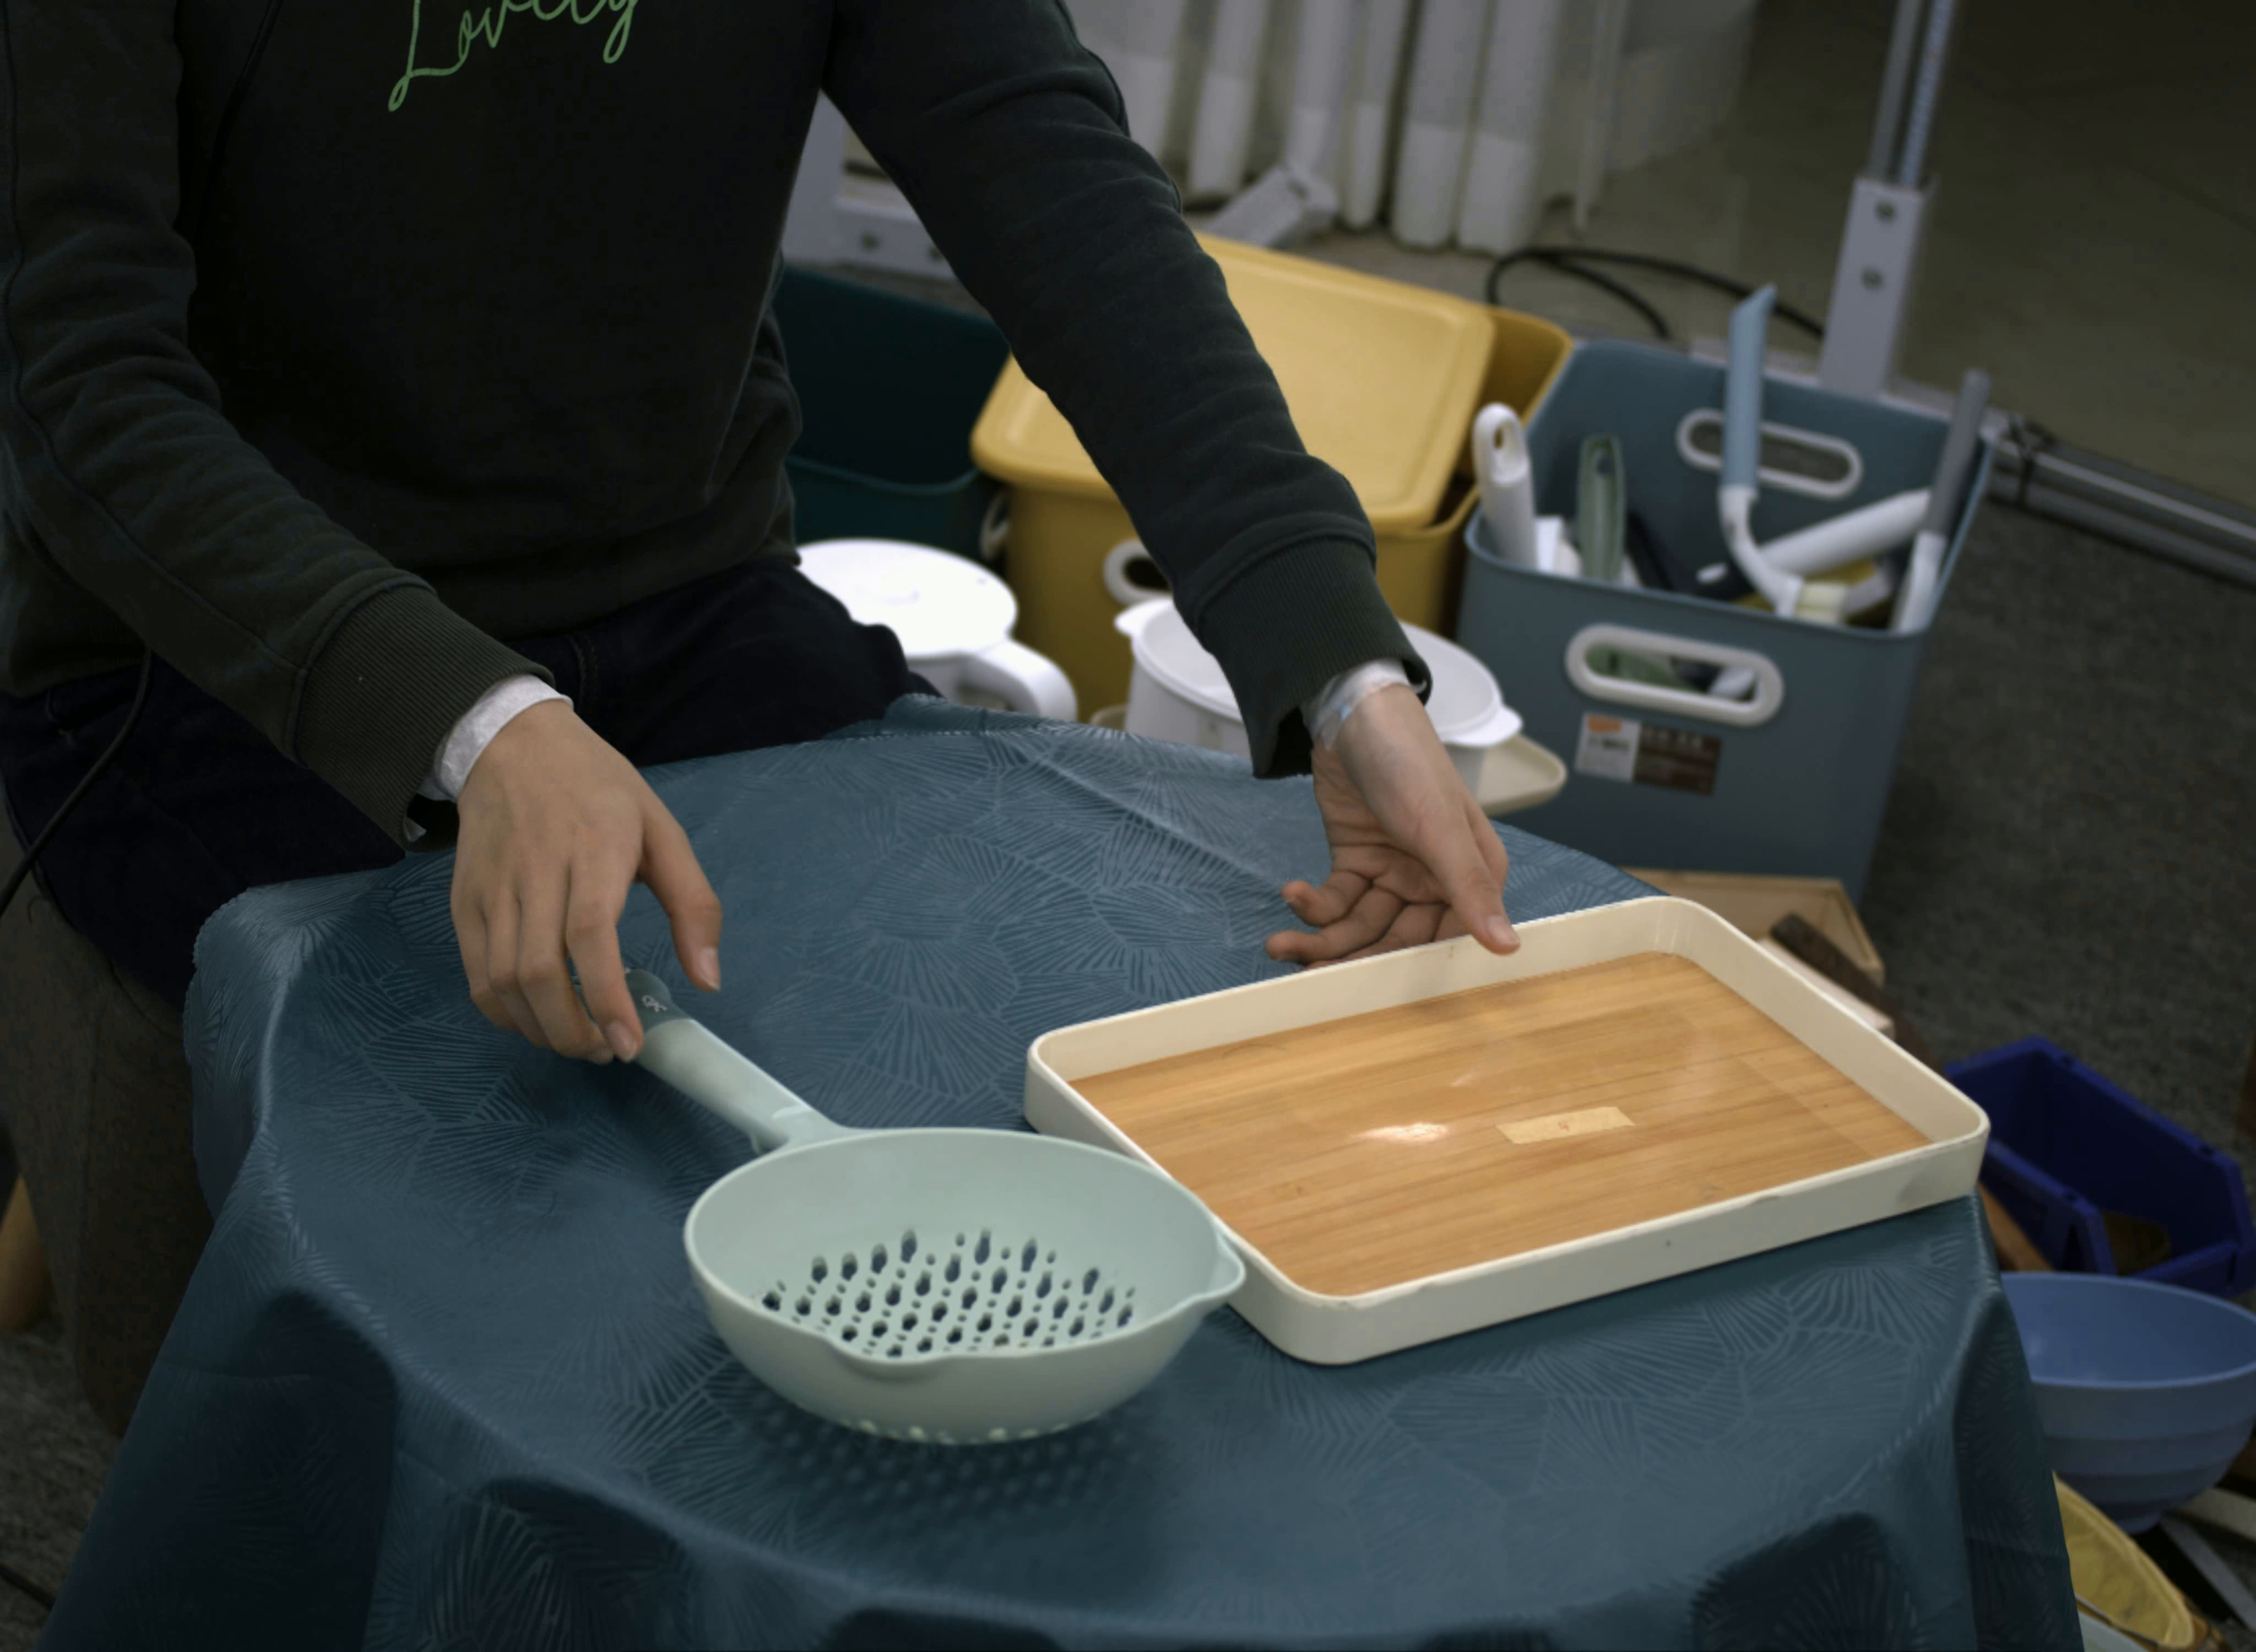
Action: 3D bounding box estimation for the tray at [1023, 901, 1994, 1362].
[{"bbox_3d":[0.132,0.101,1.846,0.298,0.027,0.193,-11,31,-31],"label":"tray"}]

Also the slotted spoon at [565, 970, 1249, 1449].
[{"bbox_3d":[-0.103,0.109,1.735,0.168,0.075,0.362,-9,30,-29],"label":"slotted spoon"}]
